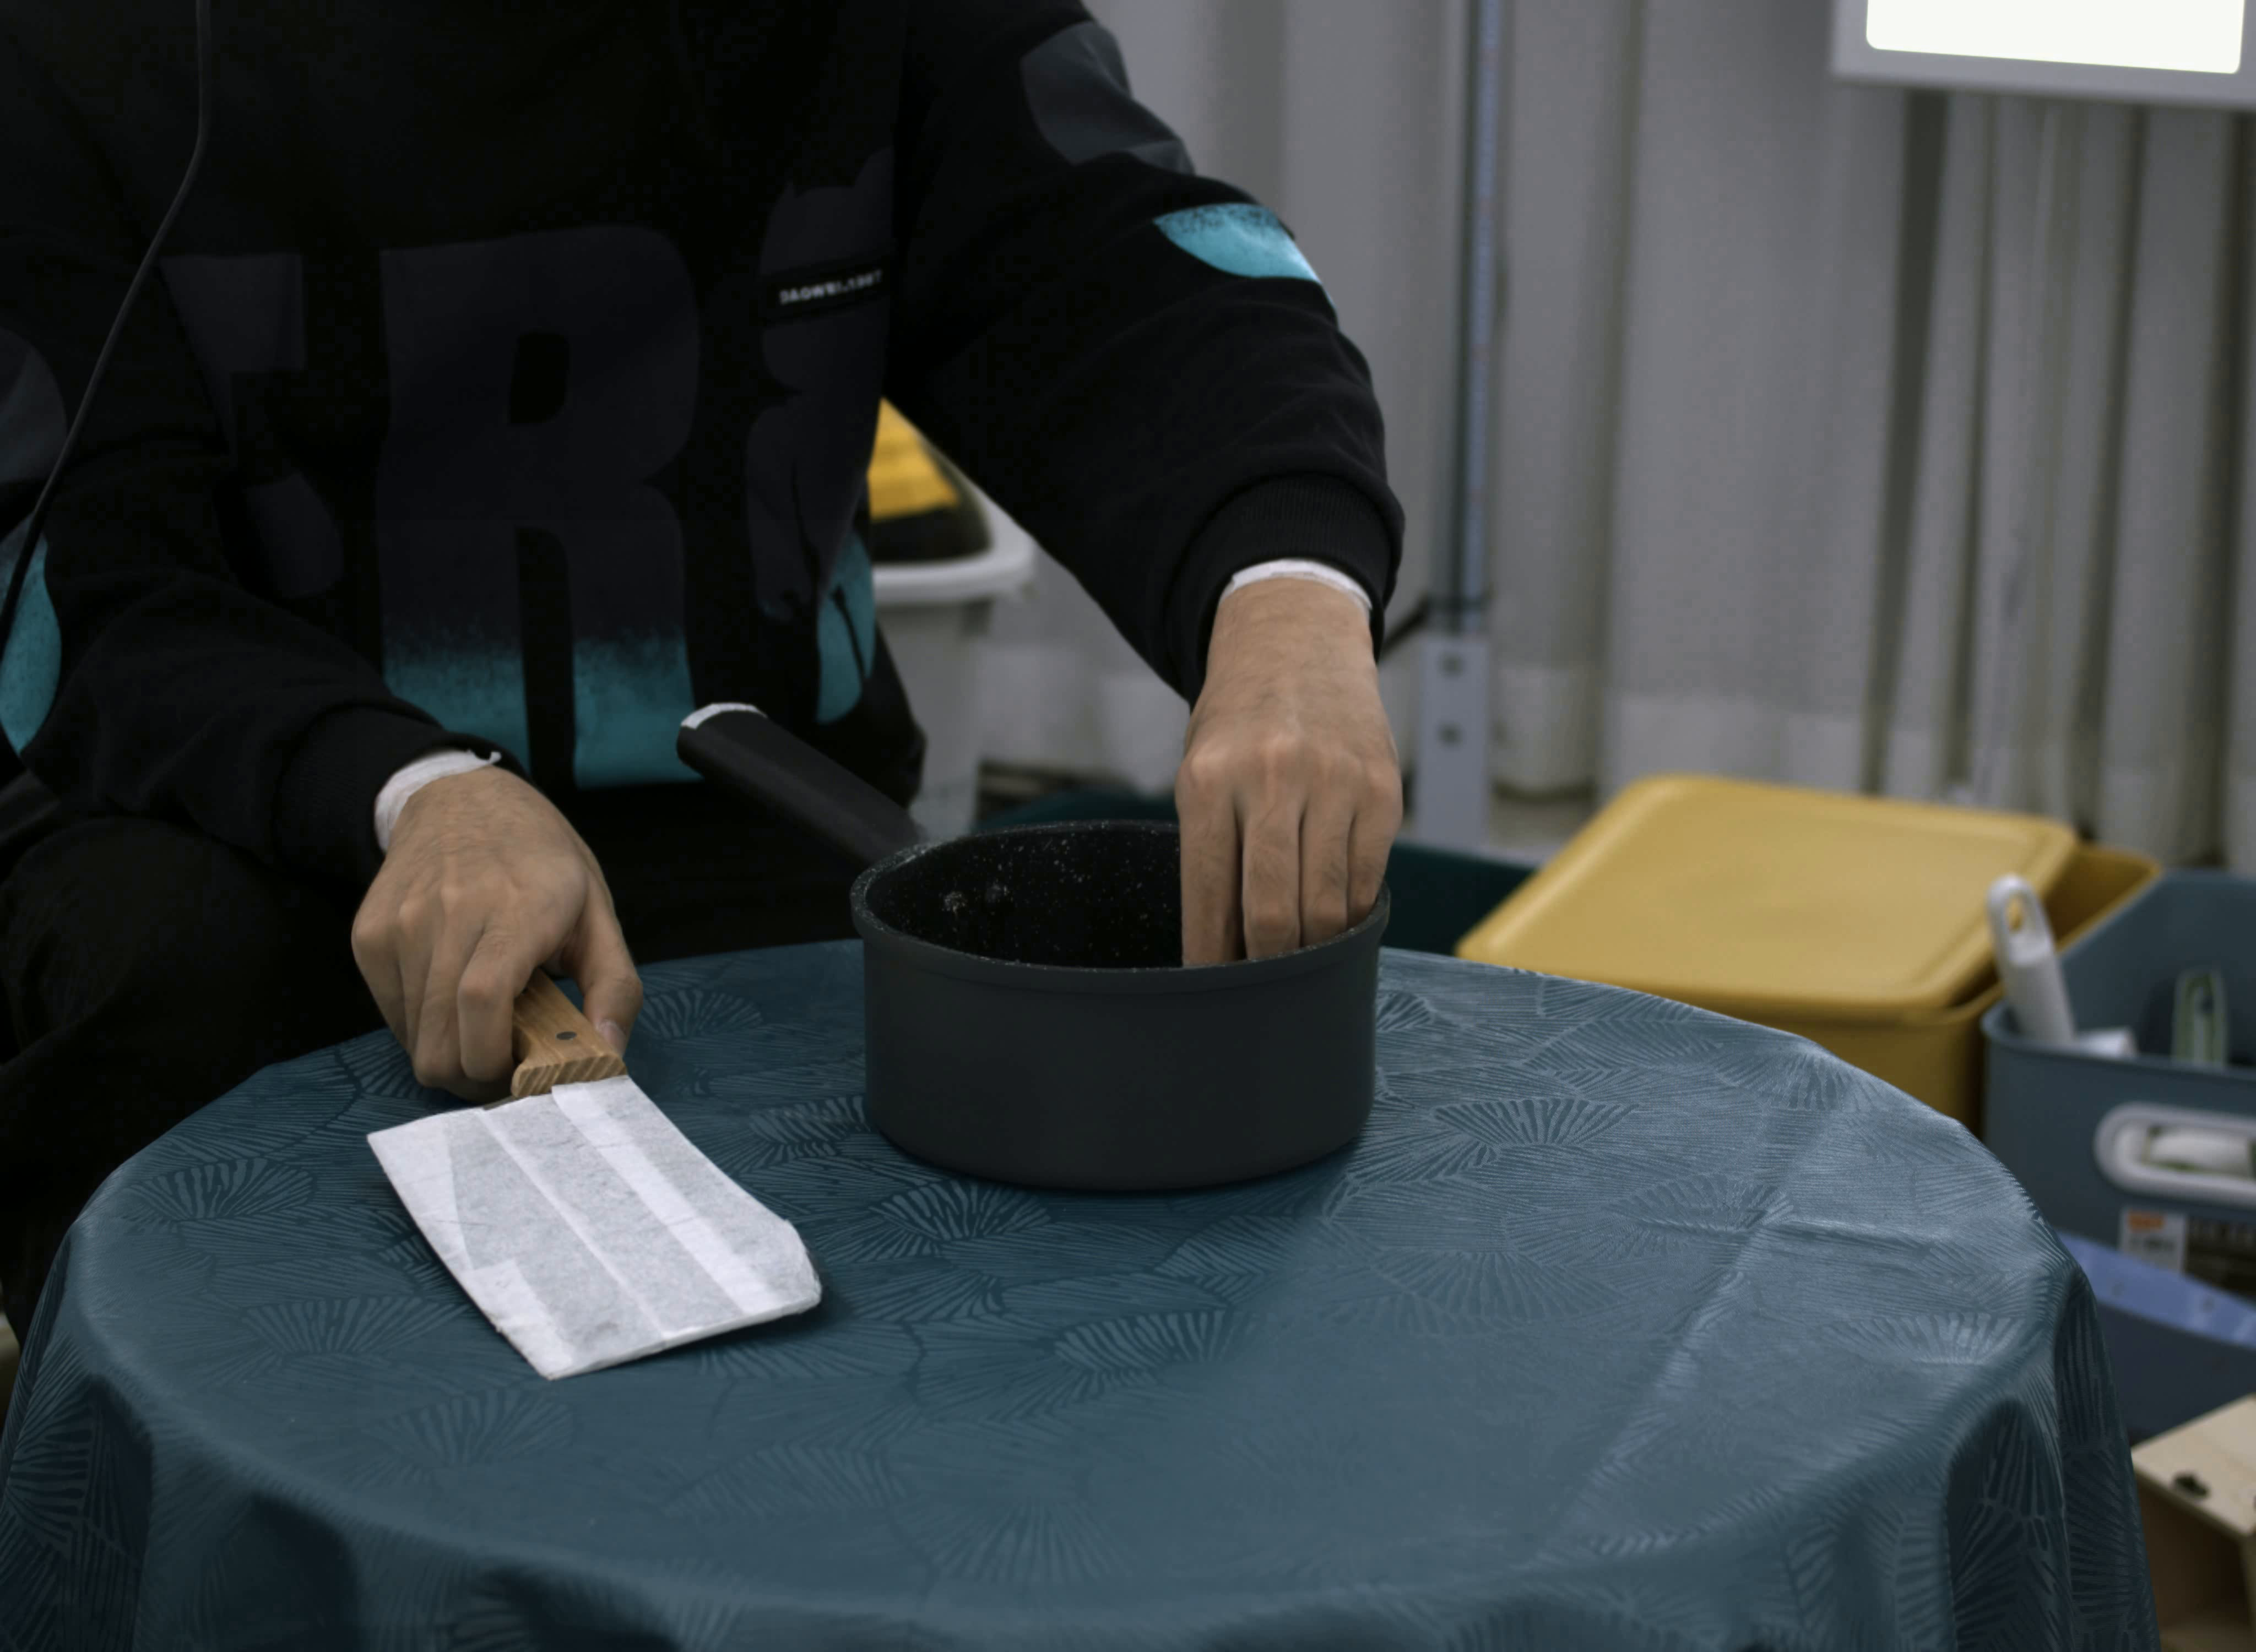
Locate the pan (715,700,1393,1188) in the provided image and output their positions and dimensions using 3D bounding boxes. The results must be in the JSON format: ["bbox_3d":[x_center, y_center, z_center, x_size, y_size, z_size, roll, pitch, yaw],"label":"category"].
[{"bbox_3d":[-0.046,0.035,1.740,0.173,0.087,0.324,-8,18,-33],"label":"pan"}]

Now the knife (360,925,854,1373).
[{"bbox_3d":[-0.175,0.094,1.616,0.114,0.022,0.311,-11,23,-18],"label":"knife"}]
